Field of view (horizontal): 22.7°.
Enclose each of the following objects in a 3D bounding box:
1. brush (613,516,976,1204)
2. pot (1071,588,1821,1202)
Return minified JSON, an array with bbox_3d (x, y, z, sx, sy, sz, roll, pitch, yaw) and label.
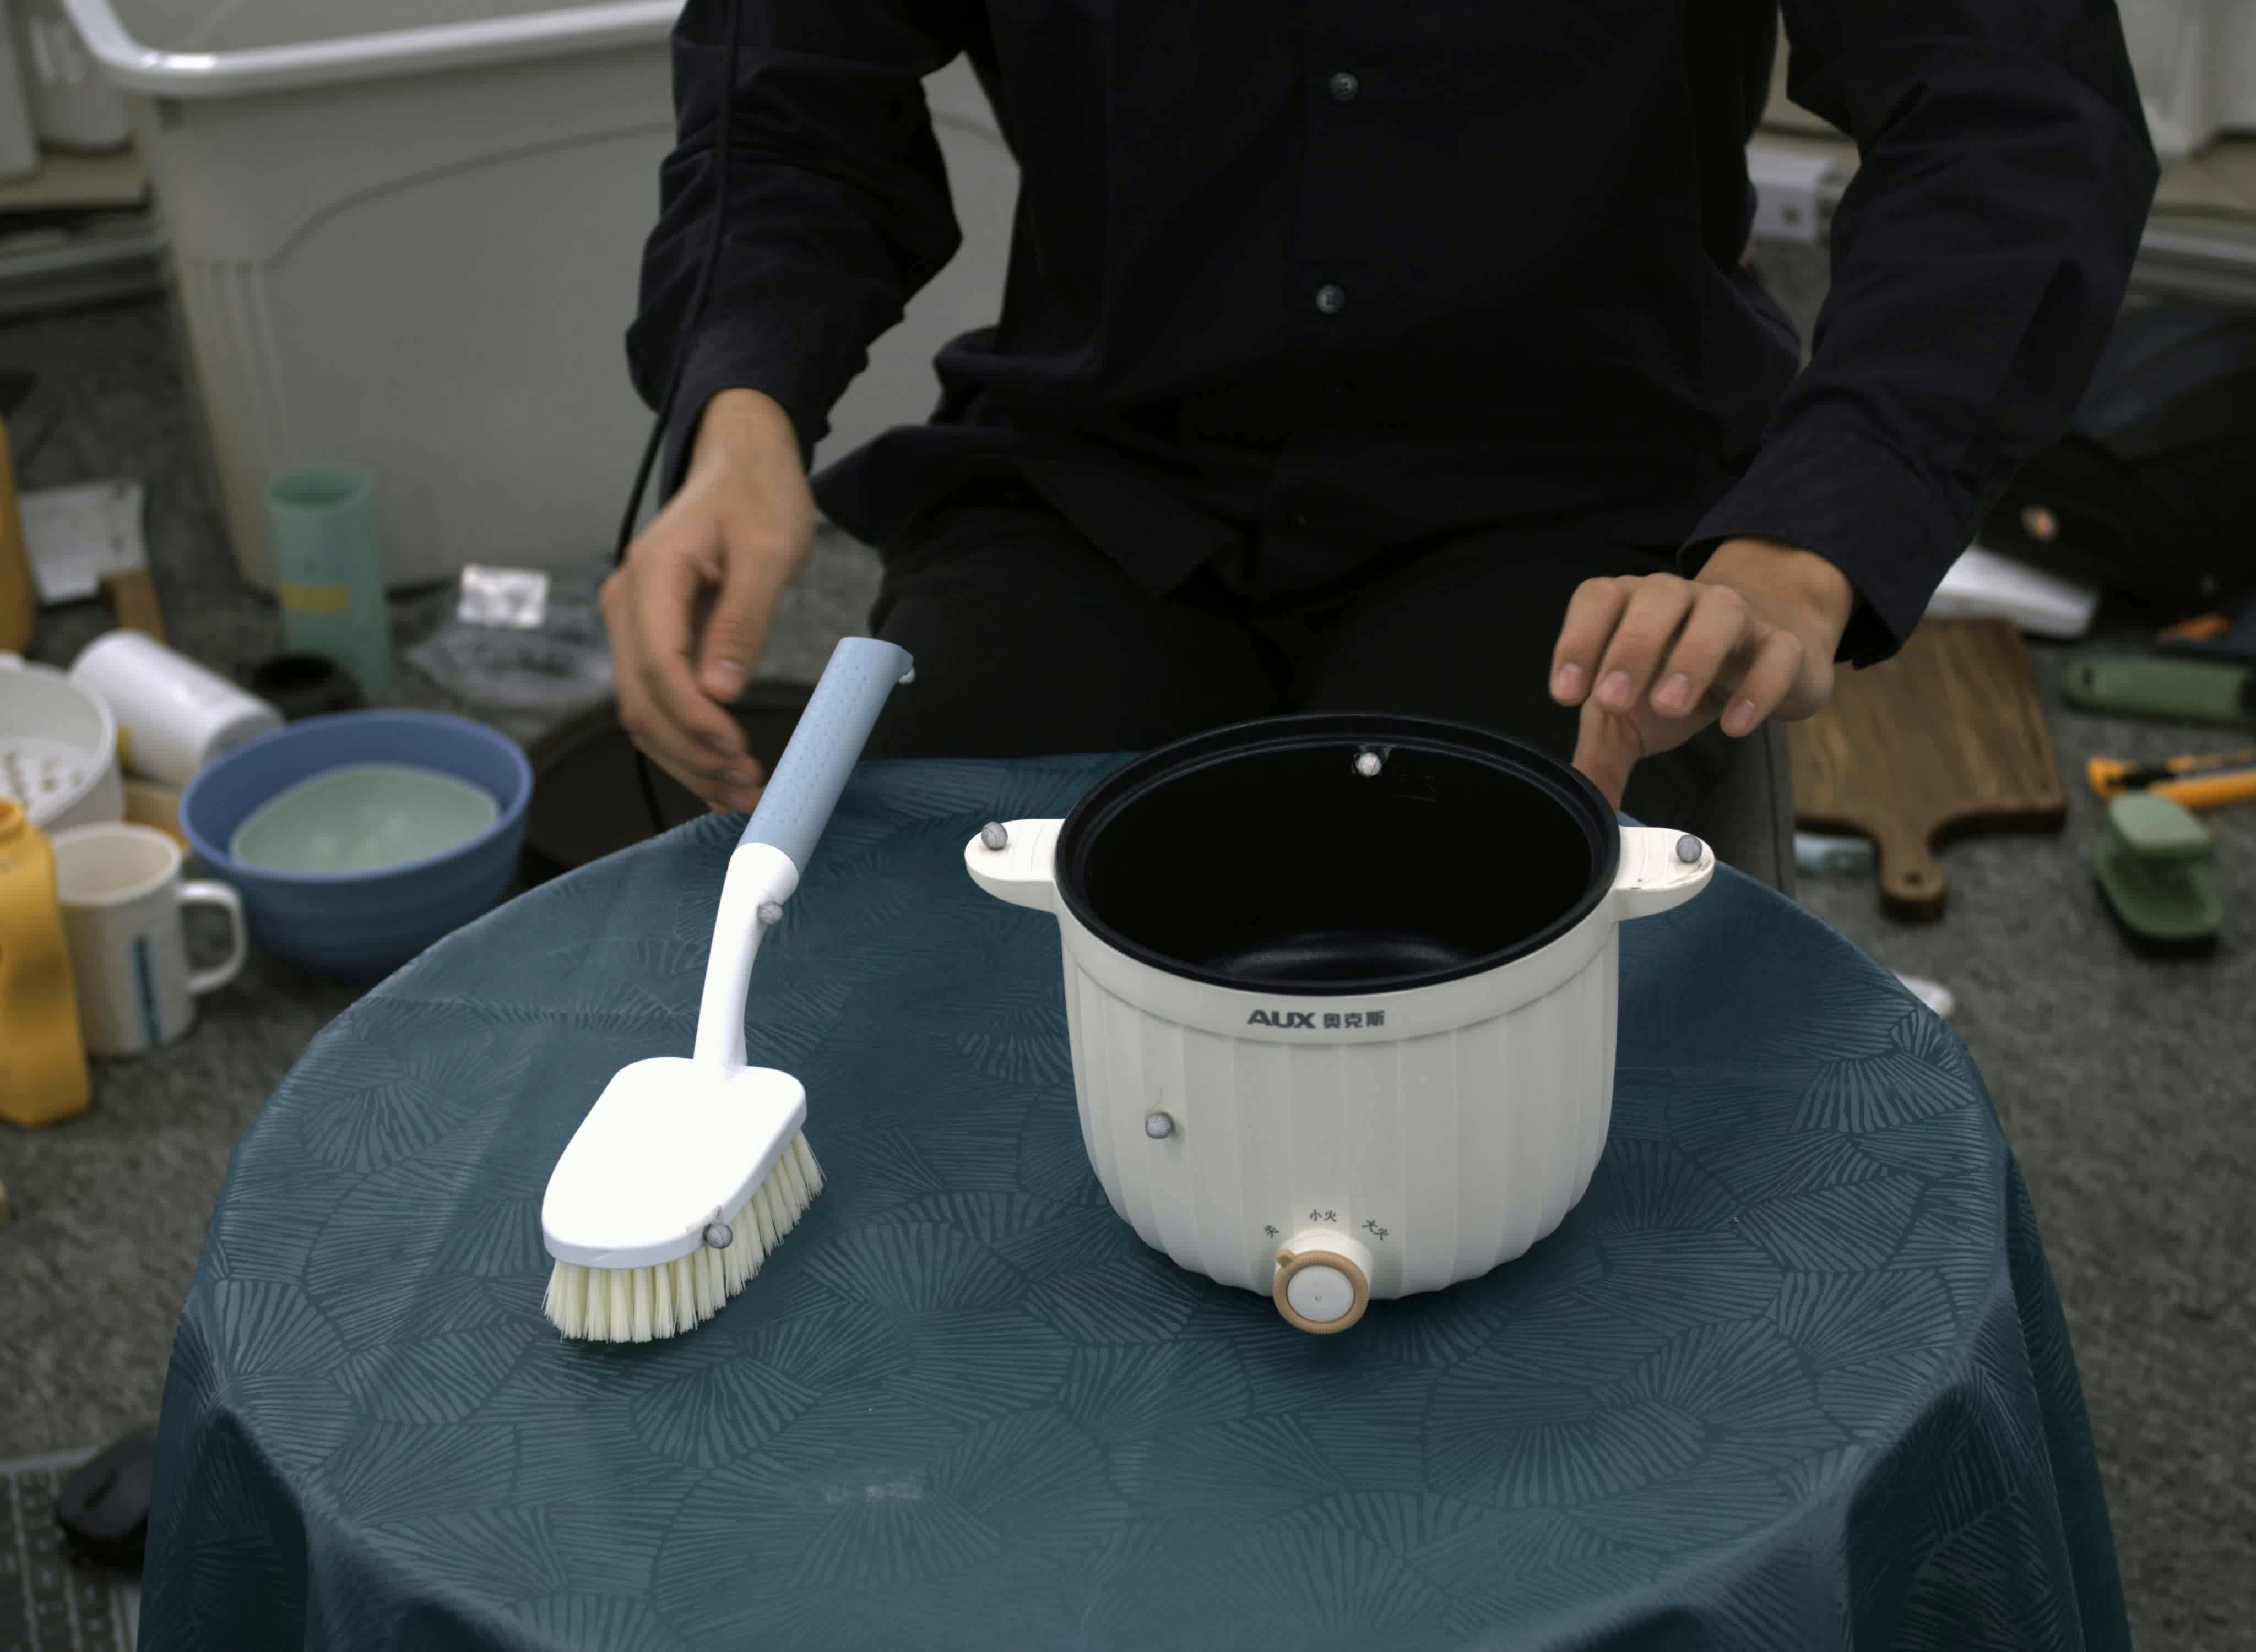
[{"bbox_3d":[-0.099,0.021,1.918,0.083,0.083,0.332,32,42,-8],"label":"brush"},{"bbox_3d":[0.104,0.025,1.821,0.239,0.141,0.193,-1,25,6],"label":"pot"}]
